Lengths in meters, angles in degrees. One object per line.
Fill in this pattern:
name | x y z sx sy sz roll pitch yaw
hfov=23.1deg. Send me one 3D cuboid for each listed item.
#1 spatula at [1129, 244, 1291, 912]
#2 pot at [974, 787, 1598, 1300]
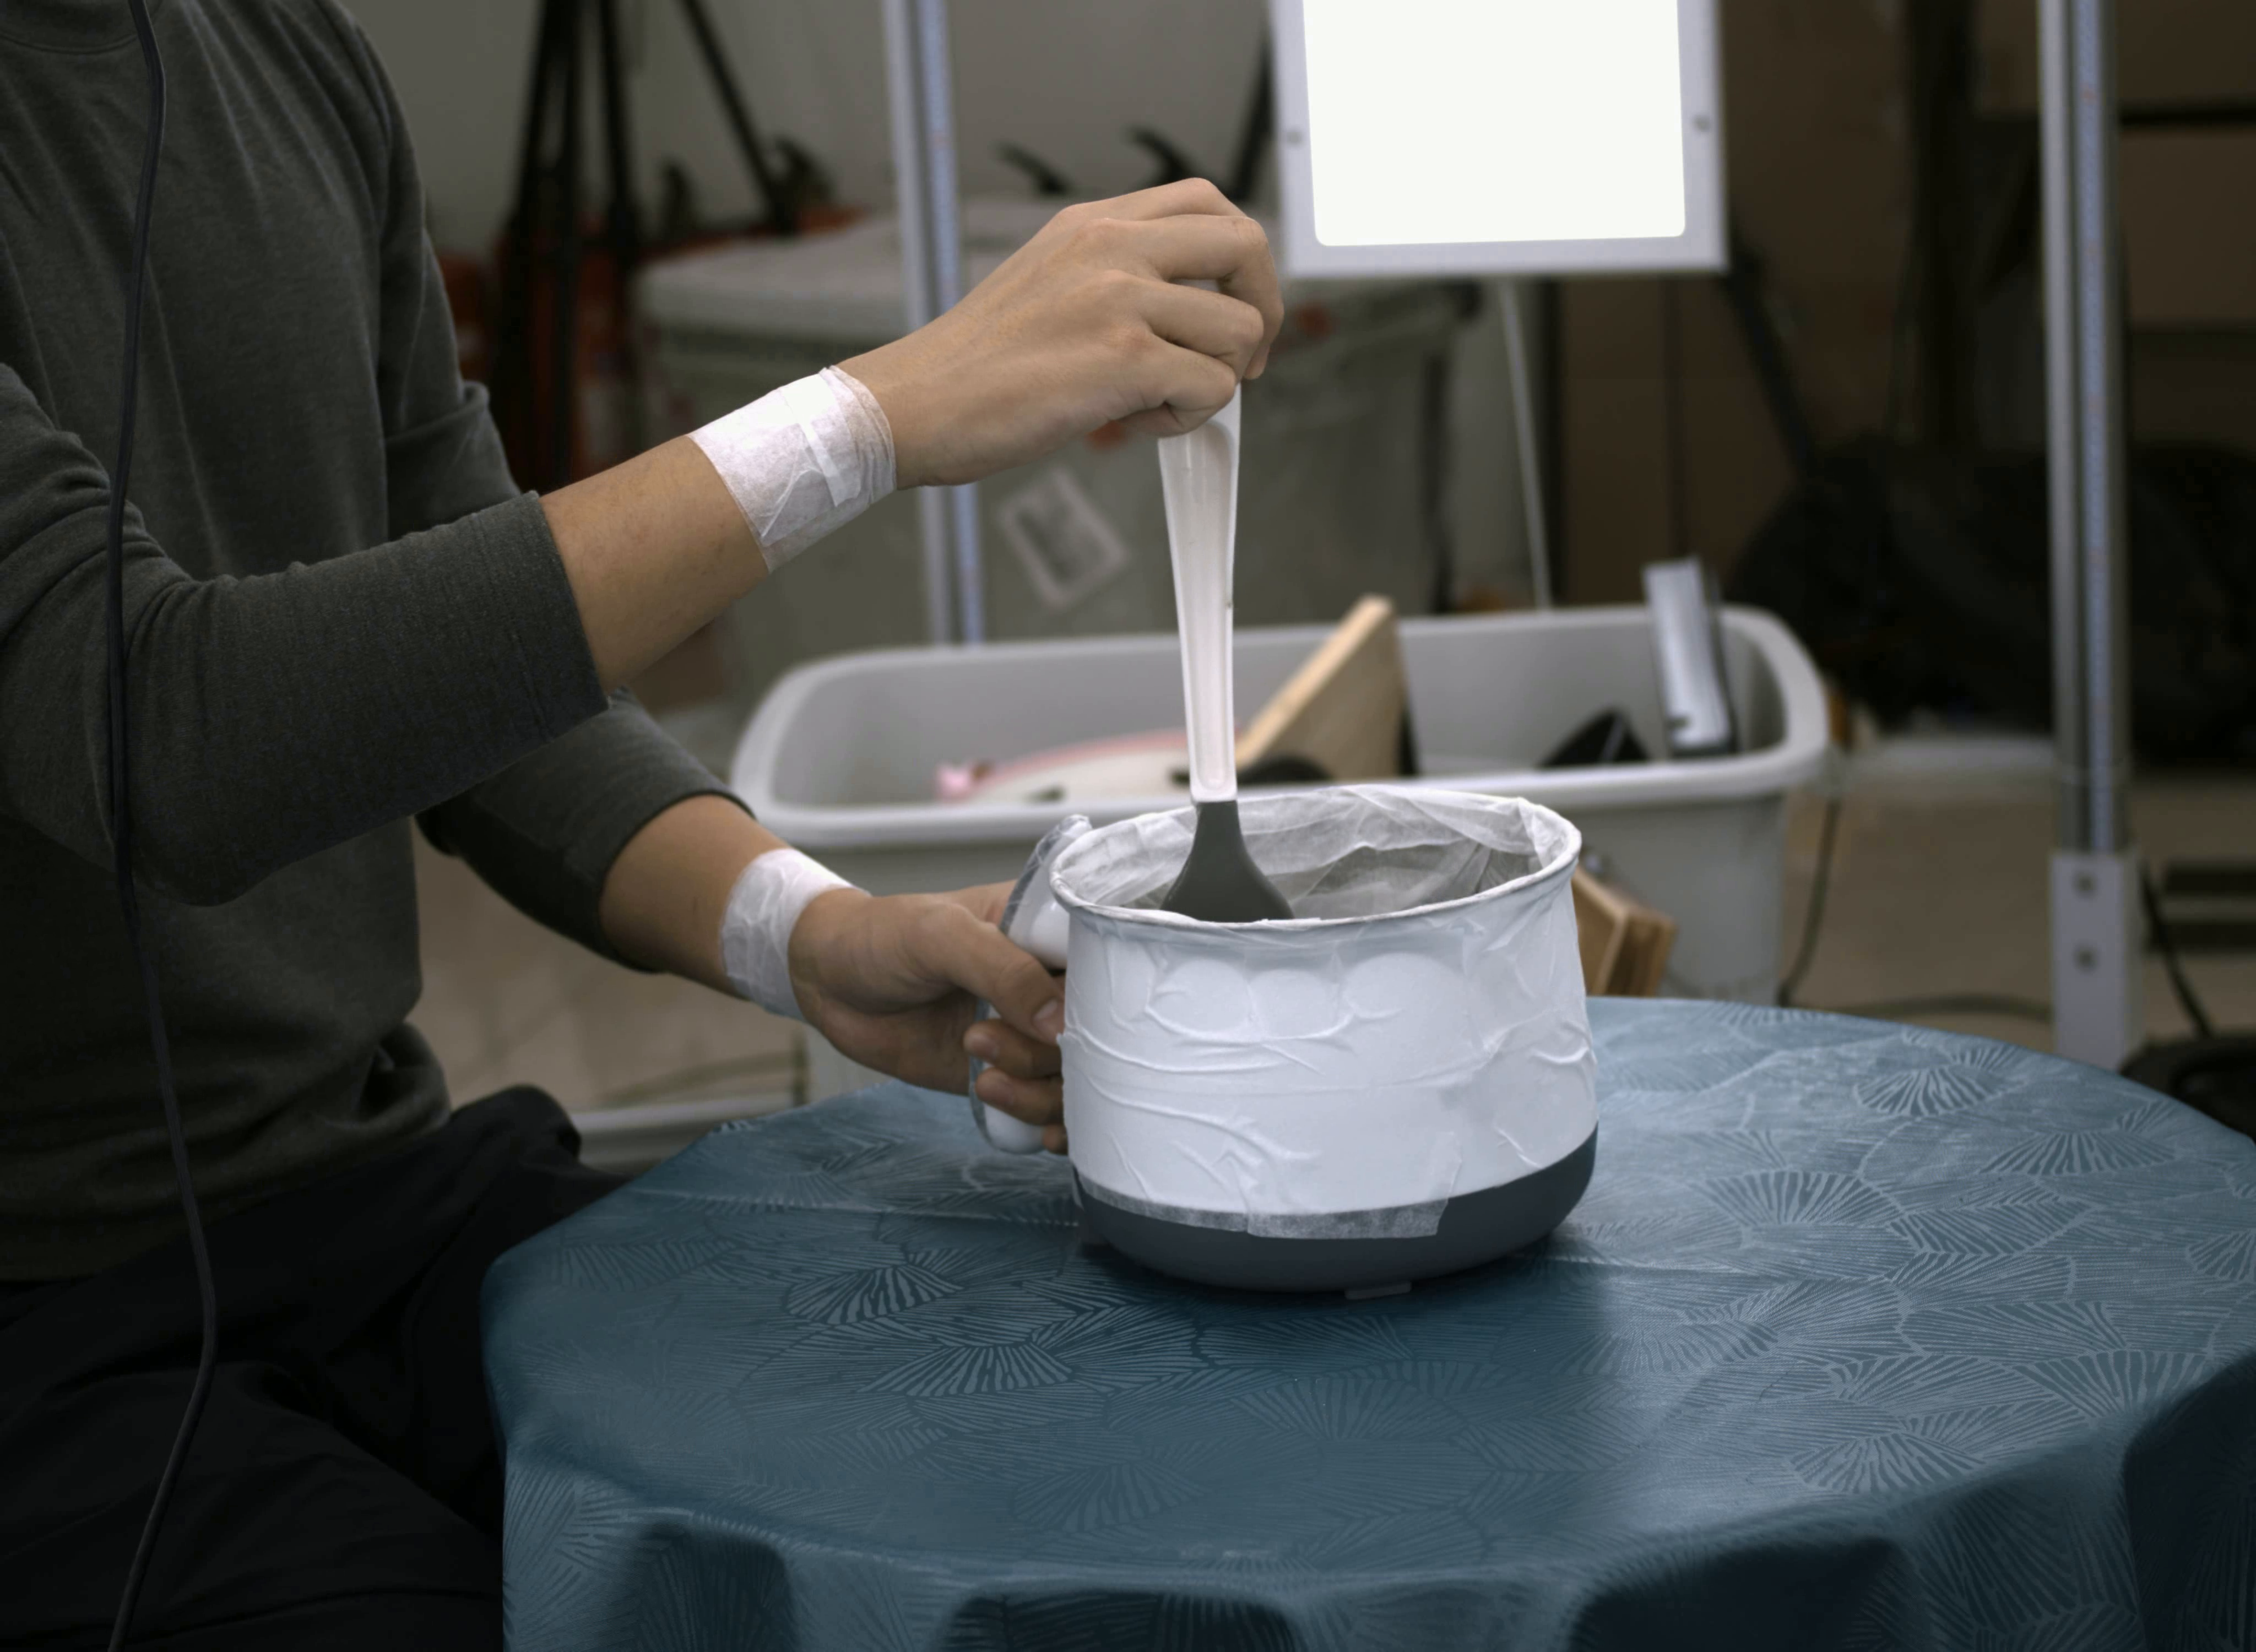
spatula | 0.028 -0.045 1.799 0.059 0.288 0.032 -4 7 9
pot | 0.044 0.068 1.838 0.238 0.137 0.174 5 17 37
